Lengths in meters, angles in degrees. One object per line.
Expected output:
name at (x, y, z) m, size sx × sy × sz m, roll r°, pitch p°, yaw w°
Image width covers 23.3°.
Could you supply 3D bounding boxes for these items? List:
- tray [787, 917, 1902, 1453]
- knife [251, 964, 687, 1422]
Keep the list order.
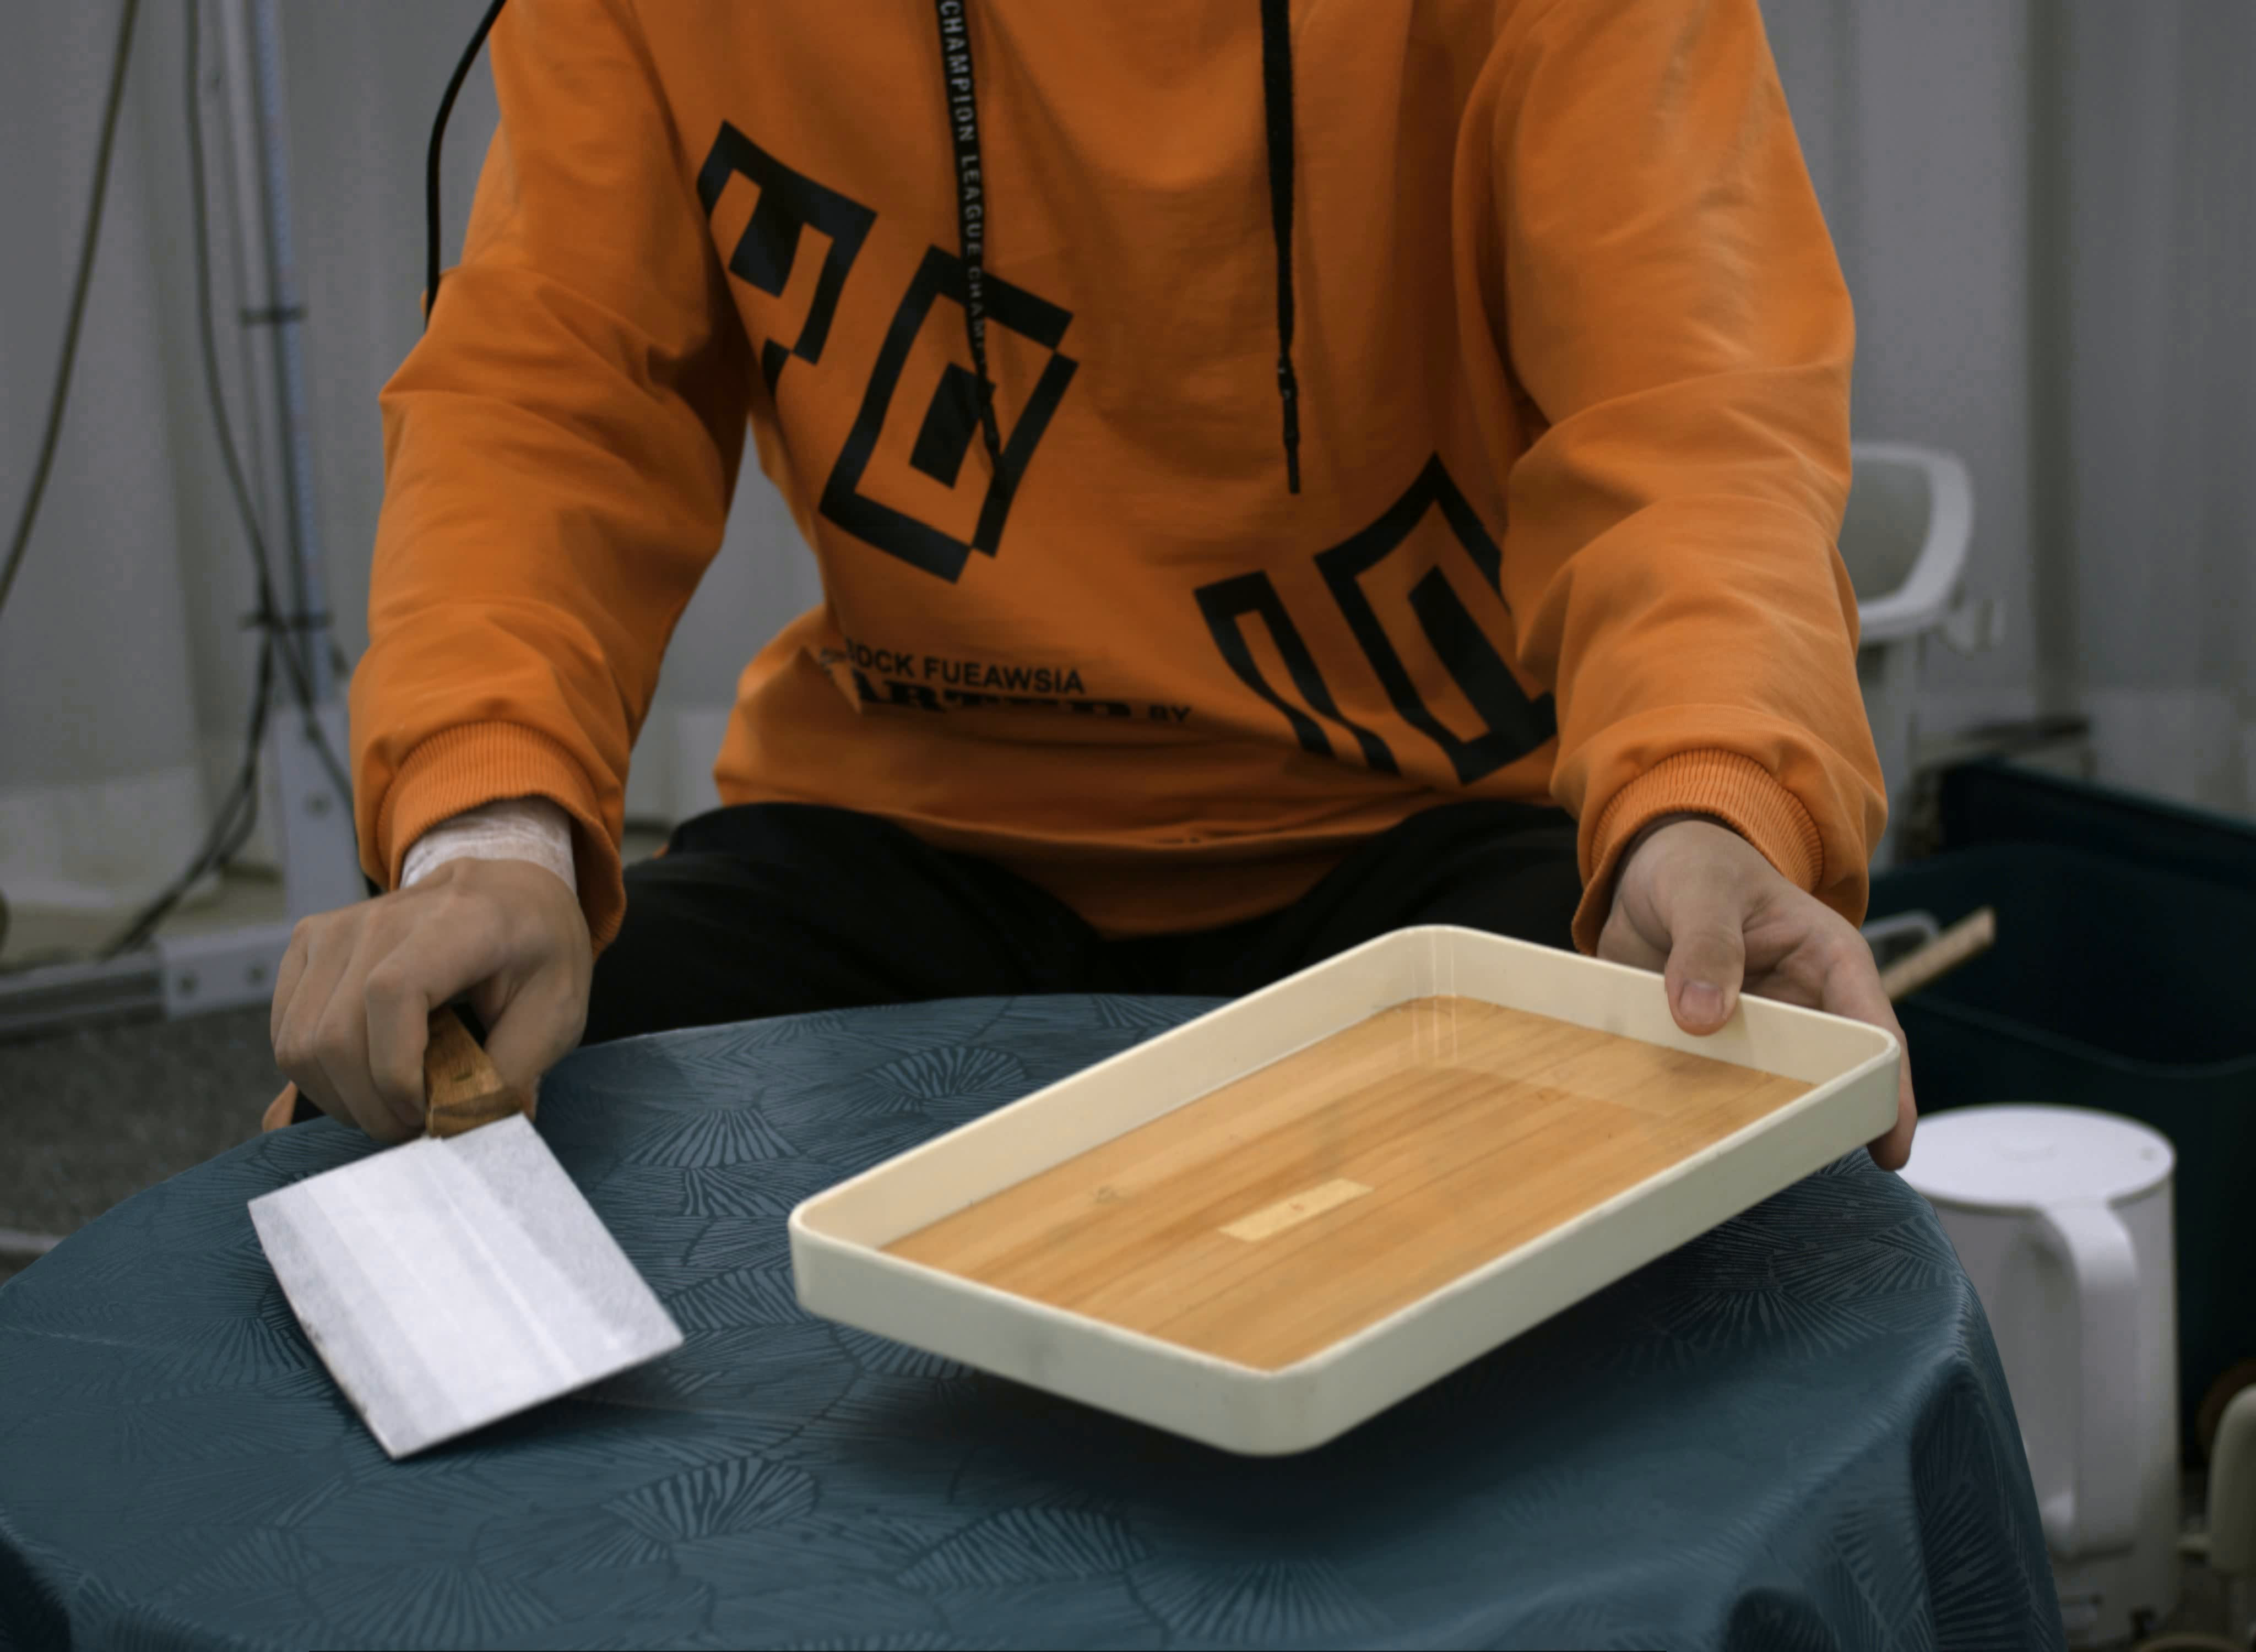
tray at (0.067, 0.097, 1.568) m, size 0.192 × 0.027 × 0.300 m, roll 14°, pitch 25°, yaw 39°
knife at (-0.217, 0.111, 1.665) m, size 0.093 × 0.021 × 0.309 m, roll -21°, pitch 24°, yaw -14°
